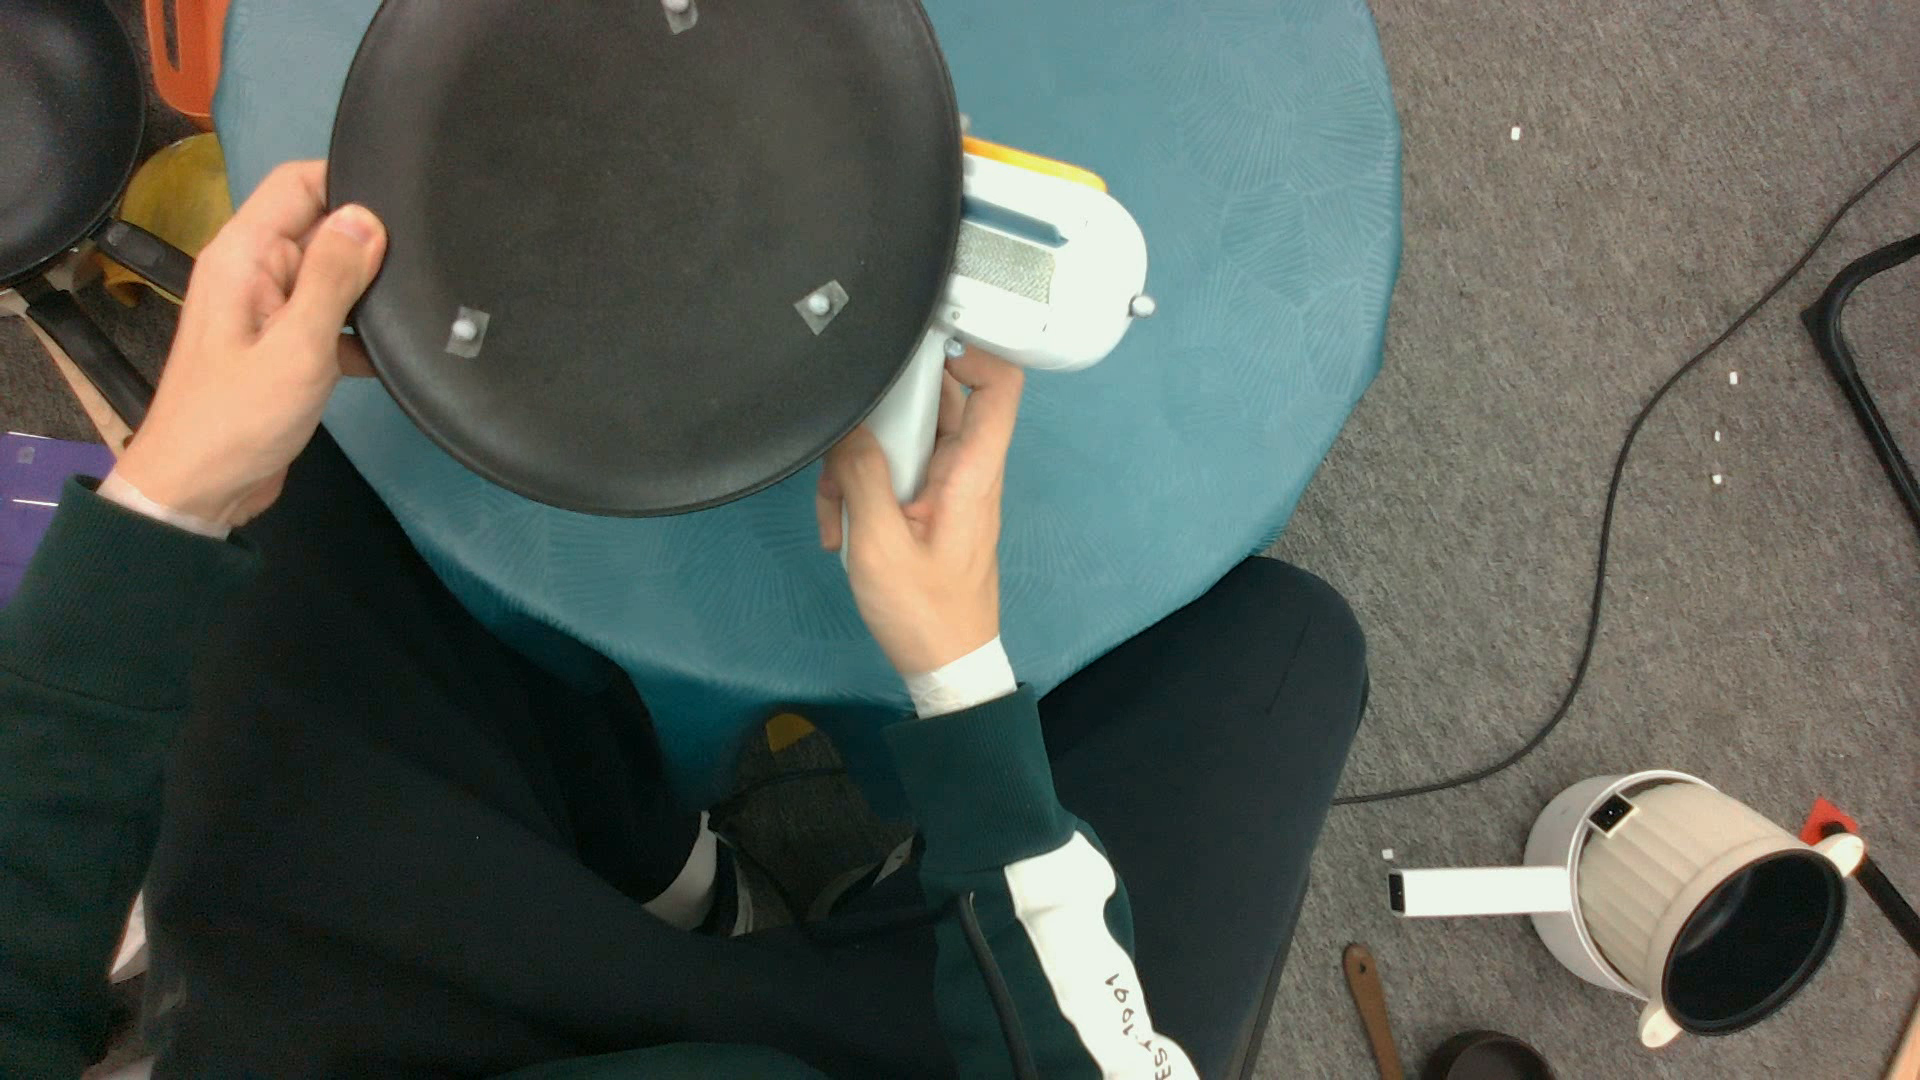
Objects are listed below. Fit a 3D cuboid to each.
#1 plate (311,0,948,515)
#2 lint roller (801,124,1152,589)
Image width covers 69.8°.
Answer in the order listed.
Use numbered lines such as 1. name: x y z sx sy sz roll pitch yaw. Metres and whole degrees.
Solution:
1. plate: -0.123 -0.130 0.511 0.244 0.023 0.244 0 89 8
2. lint roller: -0.030 -0.068 0.547 0.193 0.074 0.192 28 107 28
